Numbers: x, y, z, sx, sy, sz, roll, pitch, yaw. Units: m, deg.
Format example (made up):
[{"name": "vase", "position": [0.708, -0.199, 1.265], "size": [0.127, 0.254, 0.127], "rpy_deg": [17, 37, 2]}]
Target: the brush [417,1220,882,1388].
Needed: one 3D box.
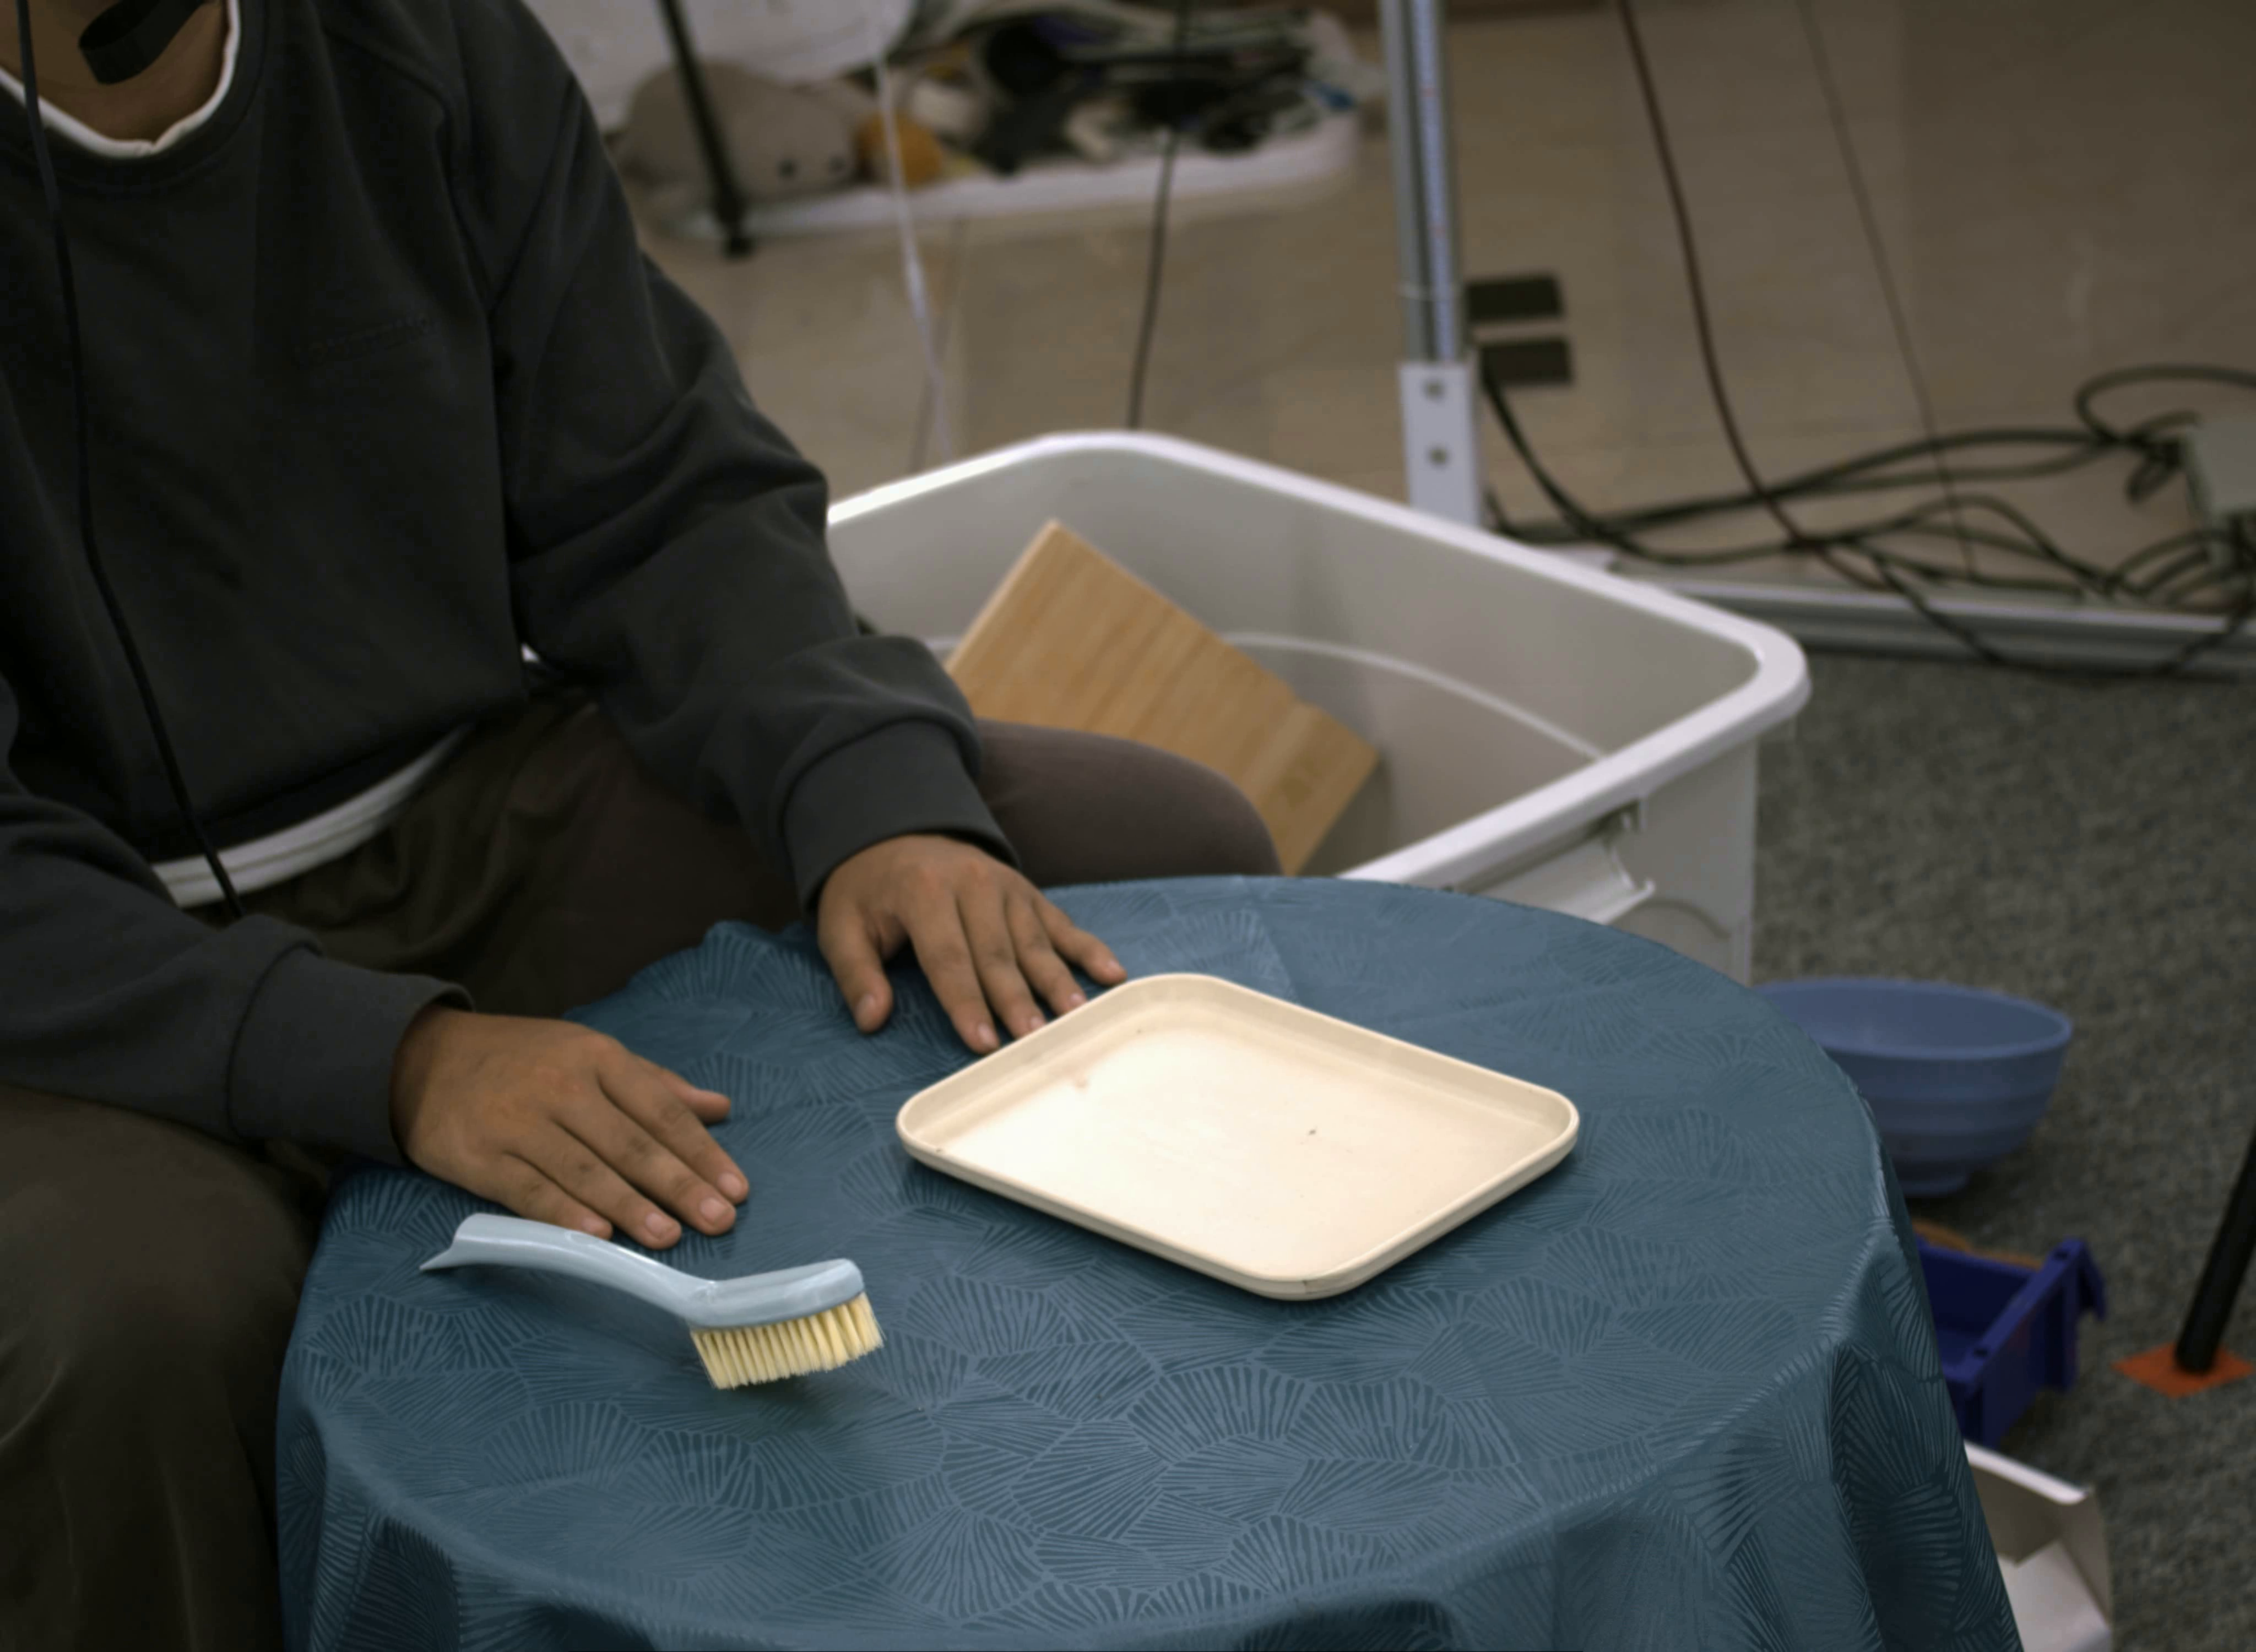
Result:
[{"name": "brush", "position": [-0.179, 0.174, 2.078], "size": [0.228, 0.050, 0.037], "rpy_deg": [3, 19, 40]}]

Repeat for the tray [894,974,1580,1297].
[{"name": "tray", "position": [0.040, 0.117, 2.164], "size": [0.170, 0.018, 0.238], "rpy_deg": [-26, 31, -38]}]
